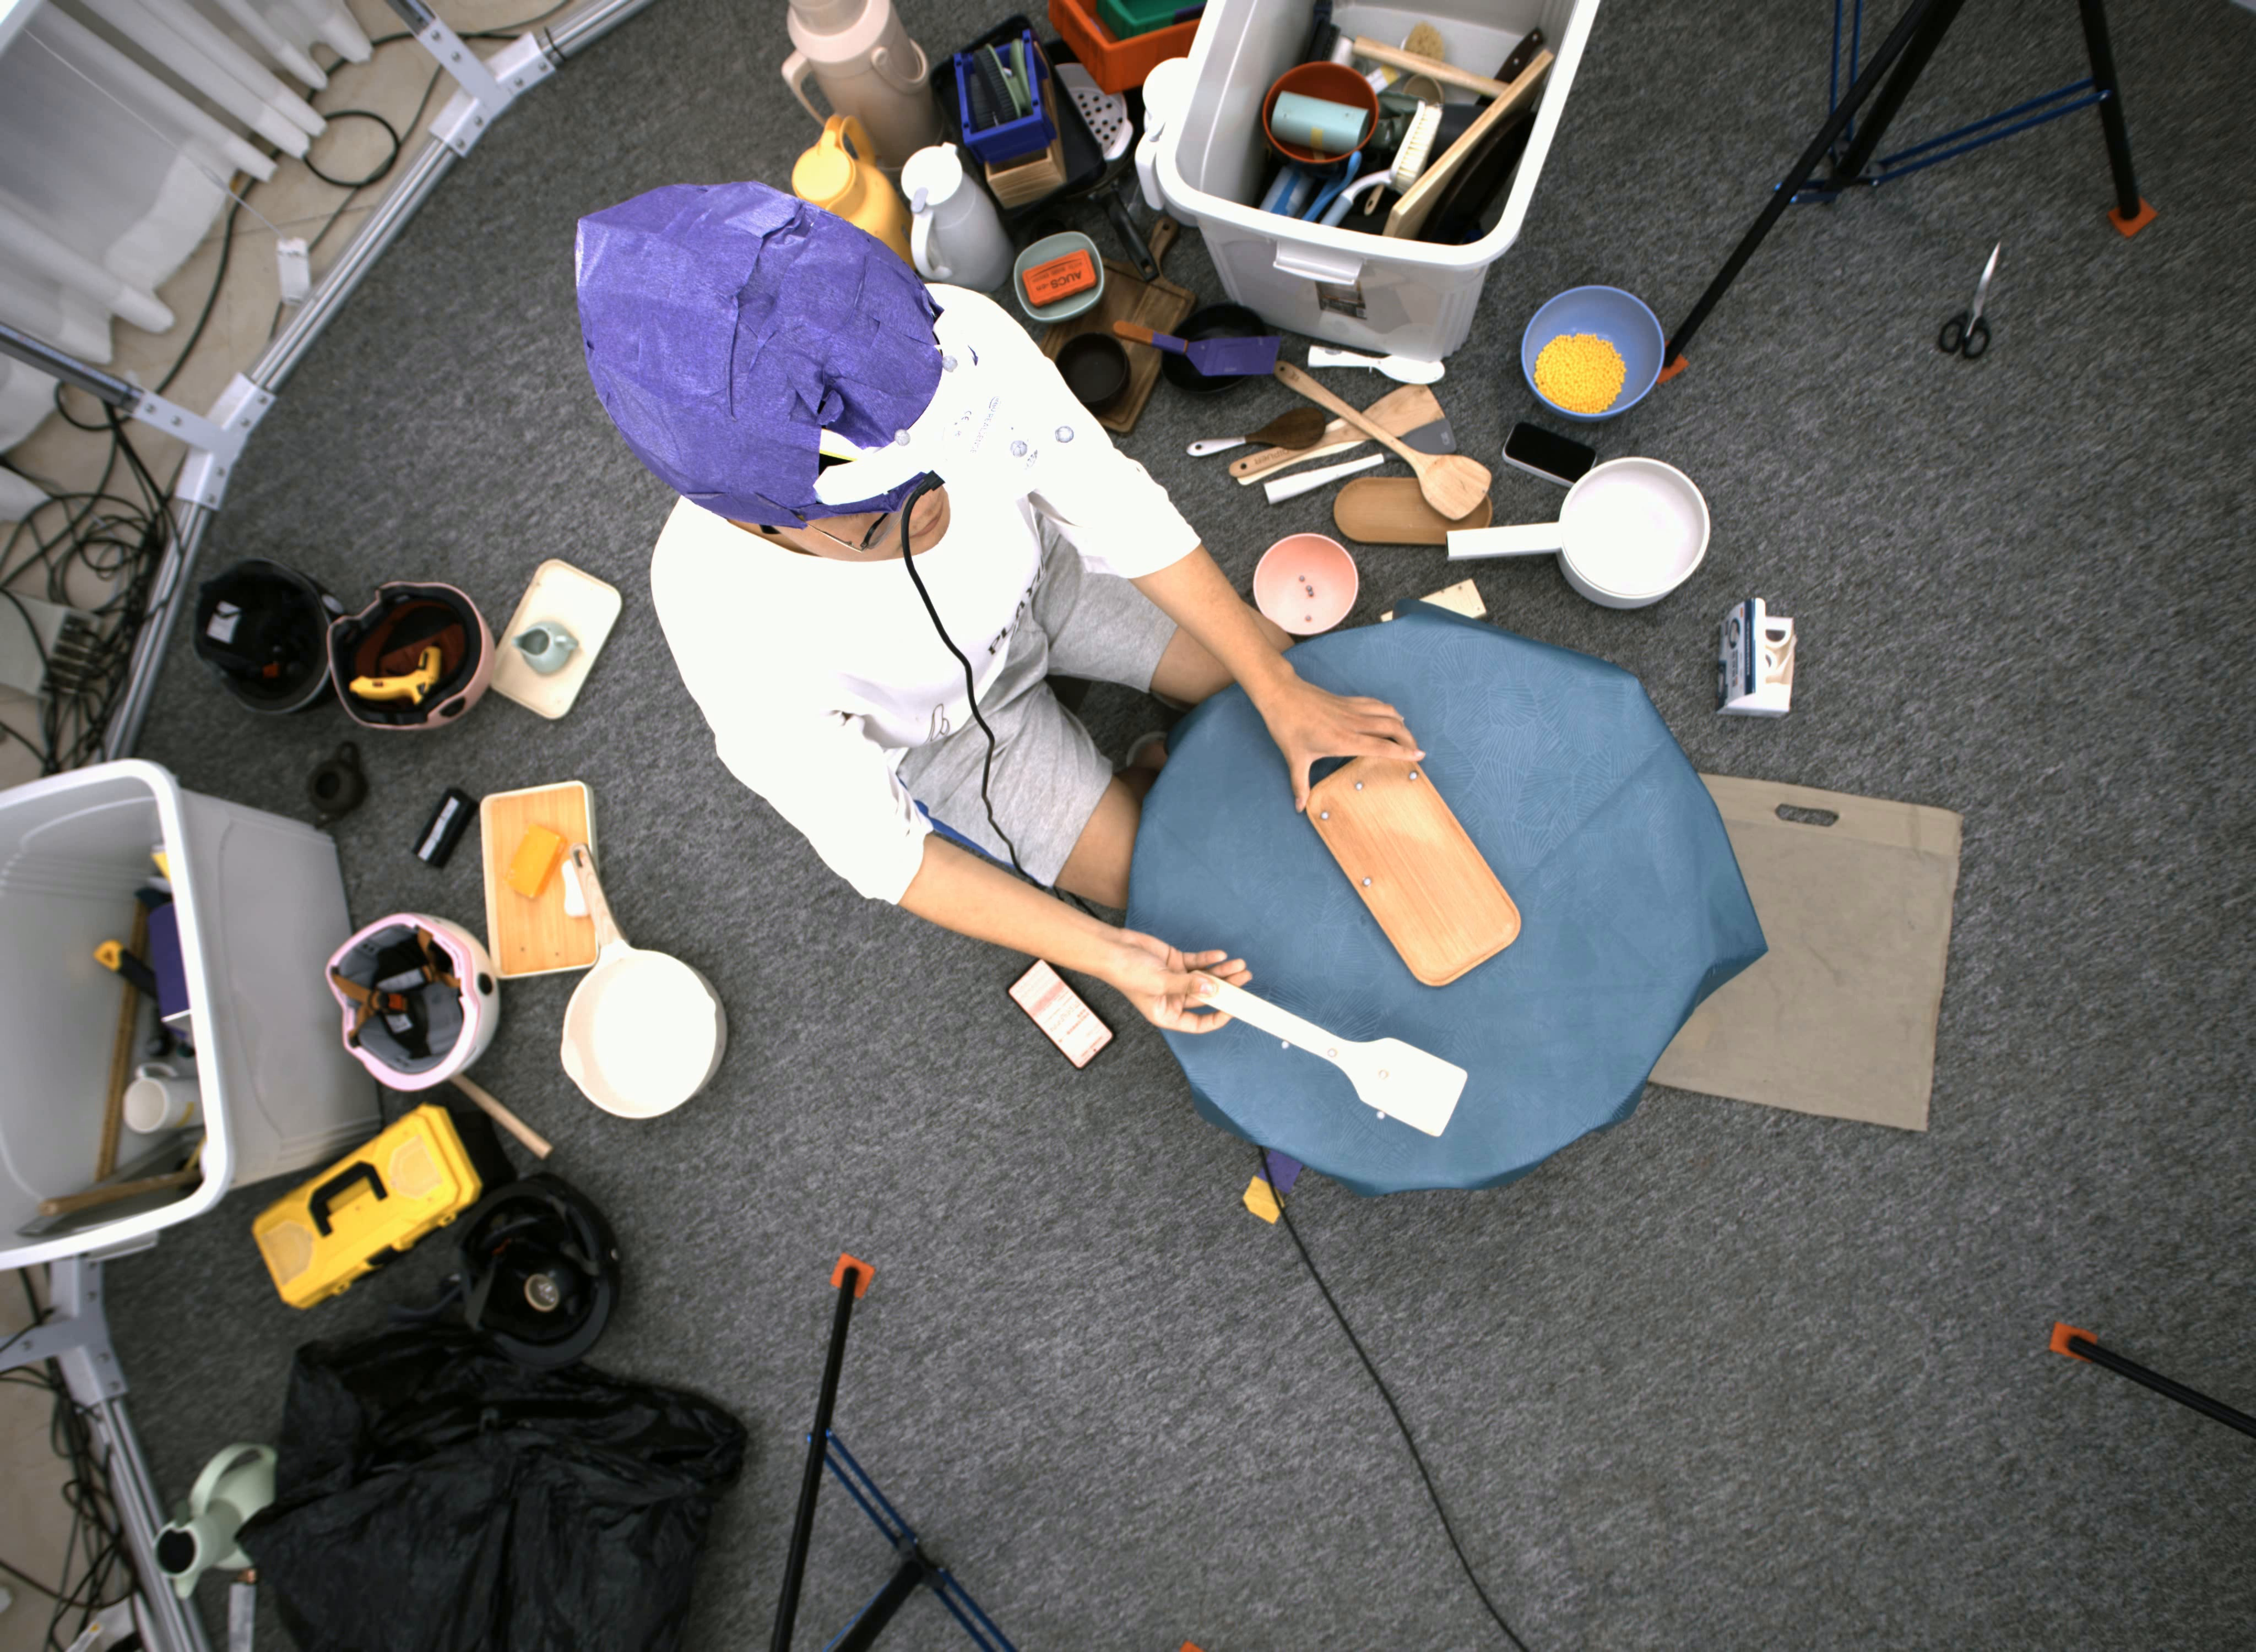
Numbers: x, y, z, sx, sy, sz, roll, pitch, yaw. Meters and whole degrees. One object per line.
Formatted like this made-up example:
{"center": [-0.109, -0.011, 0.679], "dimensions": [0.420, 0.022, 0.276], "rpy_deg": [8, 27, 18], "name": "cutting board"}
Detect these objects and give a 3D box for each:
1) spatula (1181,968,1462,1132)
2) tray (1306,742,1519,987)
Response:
{"center": [0.182, 0.209, 1.370], "dimensions": [0.292, 0.010, 0.072], "rpy_deg": [23, 93, 19], "name": "spatula"}
{"center": [0.297, 0.038, 1.449], "dimensions": [0.131, 0.023, 0.249], "rpy_deg": [-32, 82, 10], "name": "tray"}
